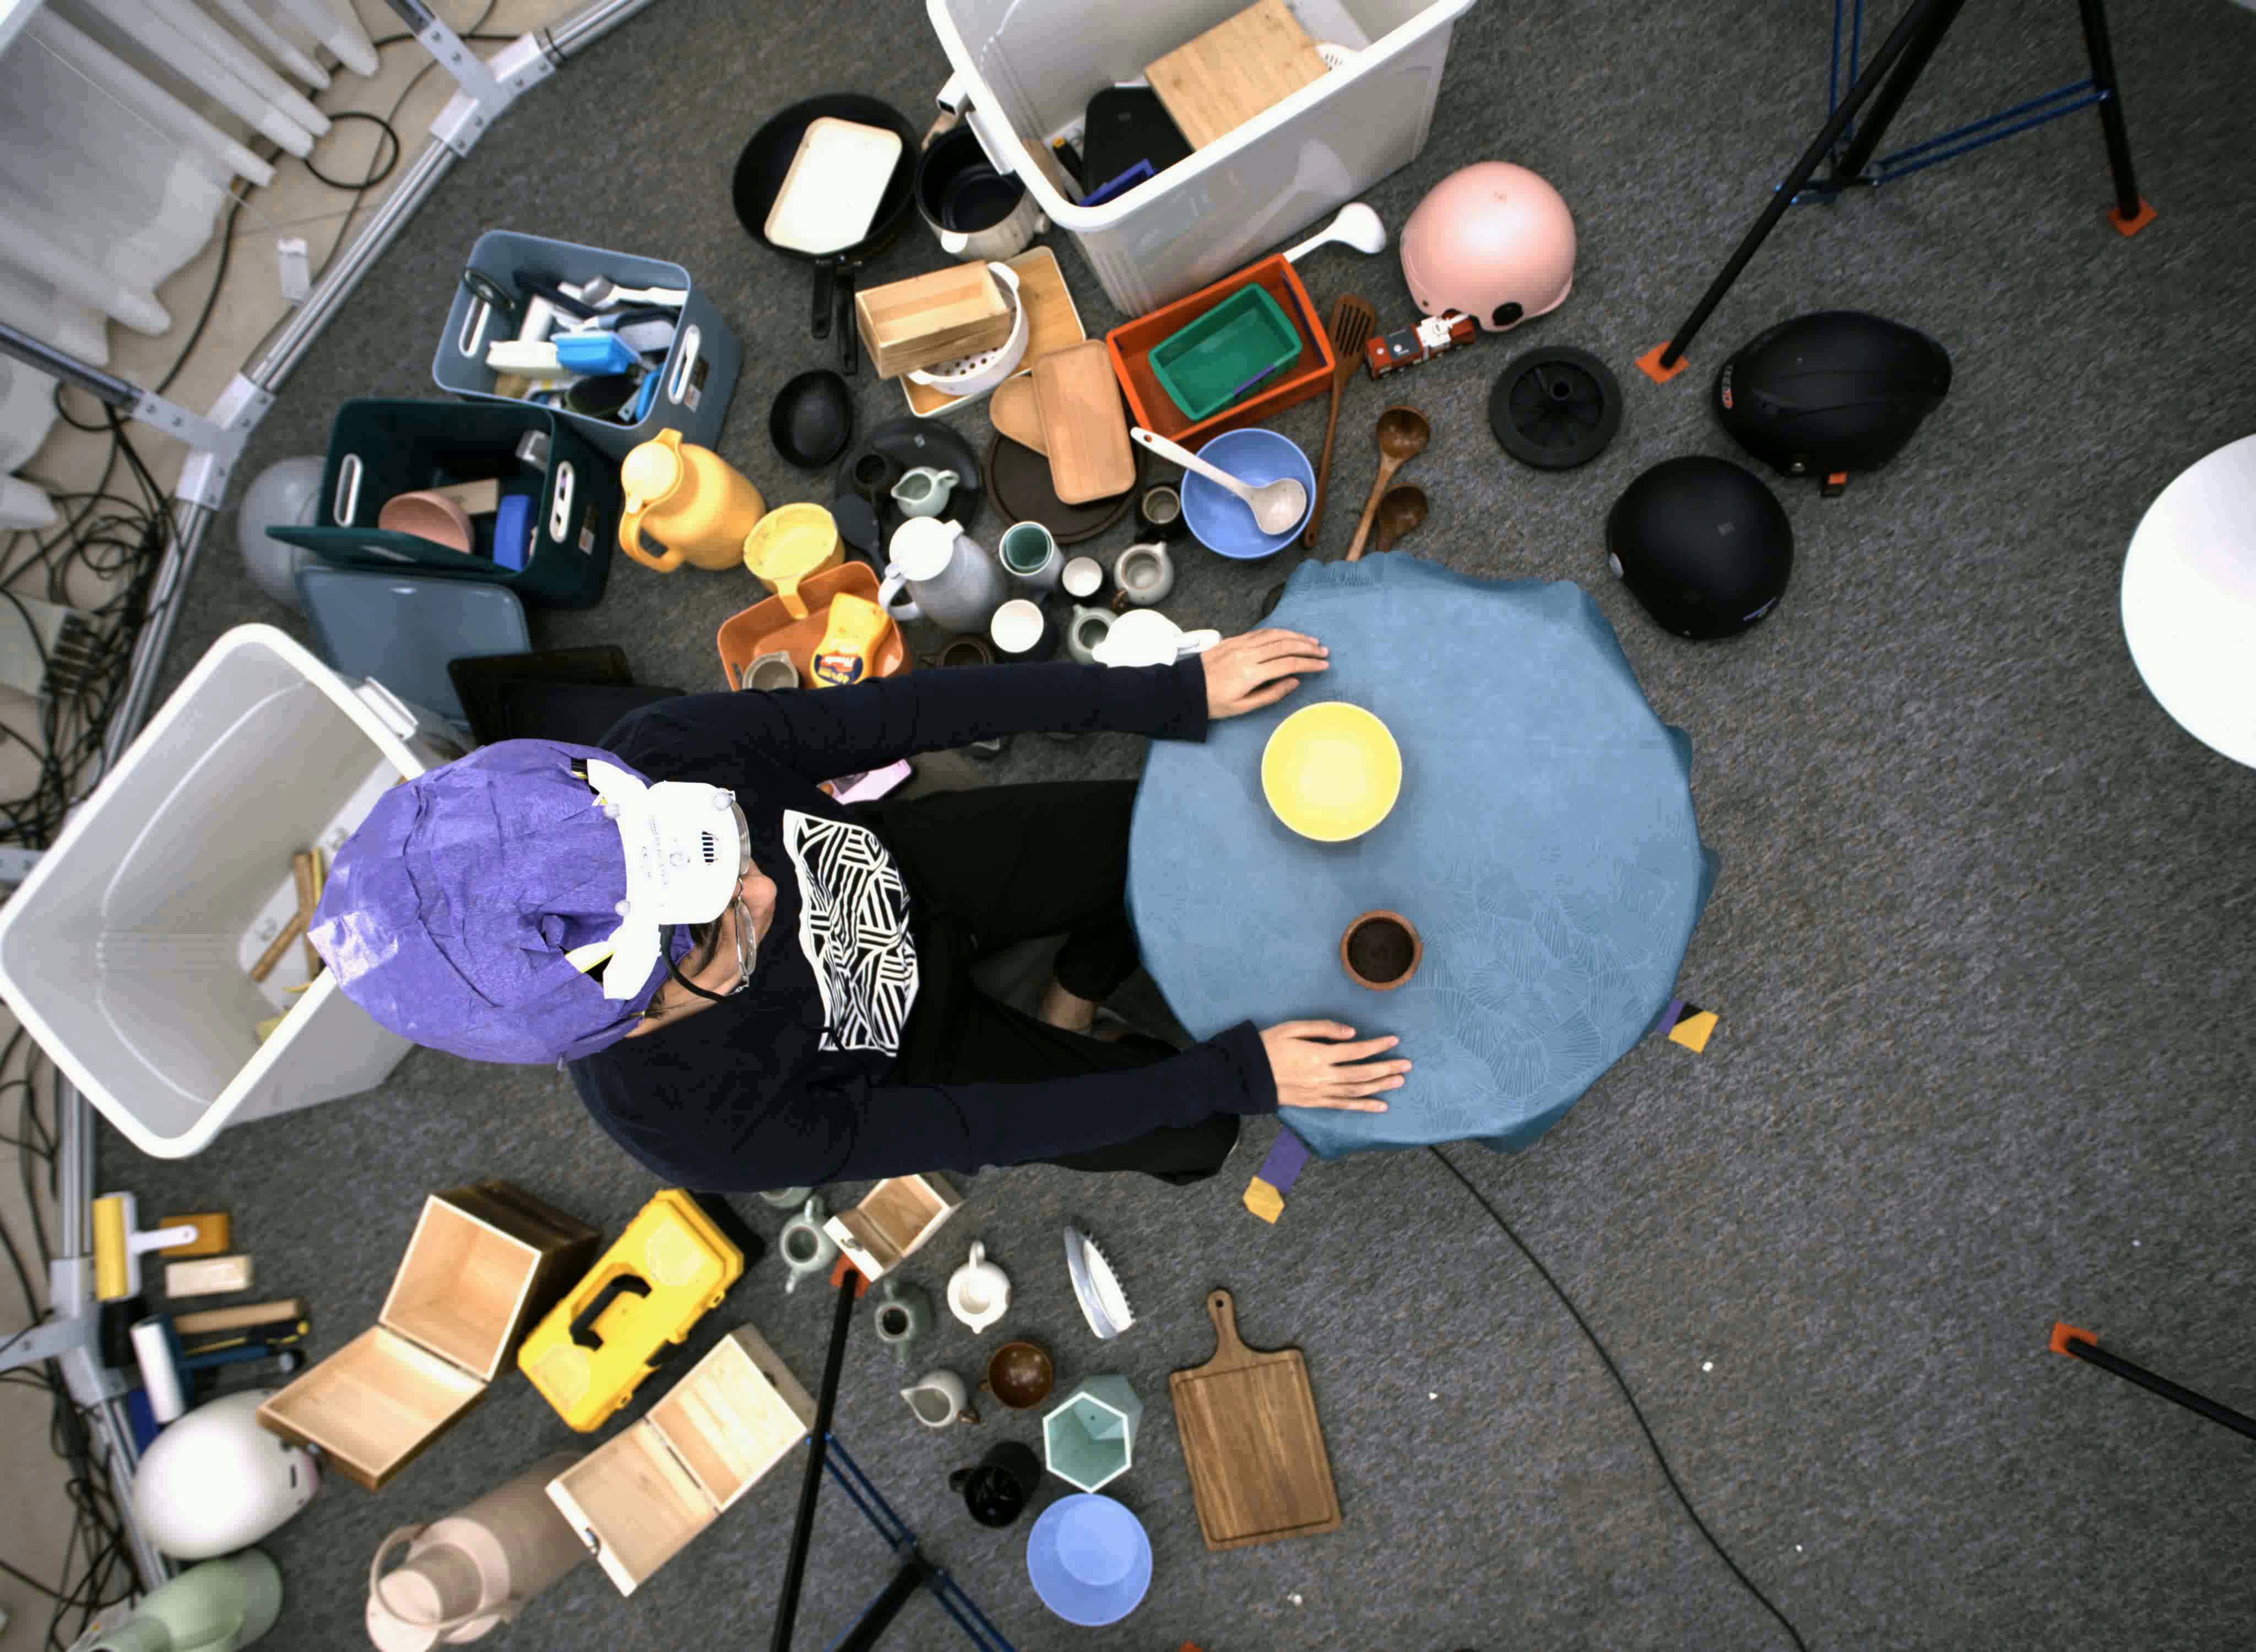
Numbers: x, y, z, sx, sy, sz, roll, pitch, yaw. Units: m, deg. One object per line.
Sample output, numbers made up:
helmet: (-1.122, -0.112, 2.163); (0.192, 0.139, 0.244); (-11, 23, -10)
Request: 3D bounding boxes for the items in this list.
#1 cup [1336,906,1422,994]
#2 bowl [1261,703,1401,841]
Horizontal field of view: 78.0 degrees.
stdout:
cup: (0.255, 0.127, 1.399); (0.088, 0.118, 0.087); (-1, 83, 10)
bowl: (0.214, -0.054, 1.447); (0.146, 0.060, 0.144); (-1, 86, 12)
